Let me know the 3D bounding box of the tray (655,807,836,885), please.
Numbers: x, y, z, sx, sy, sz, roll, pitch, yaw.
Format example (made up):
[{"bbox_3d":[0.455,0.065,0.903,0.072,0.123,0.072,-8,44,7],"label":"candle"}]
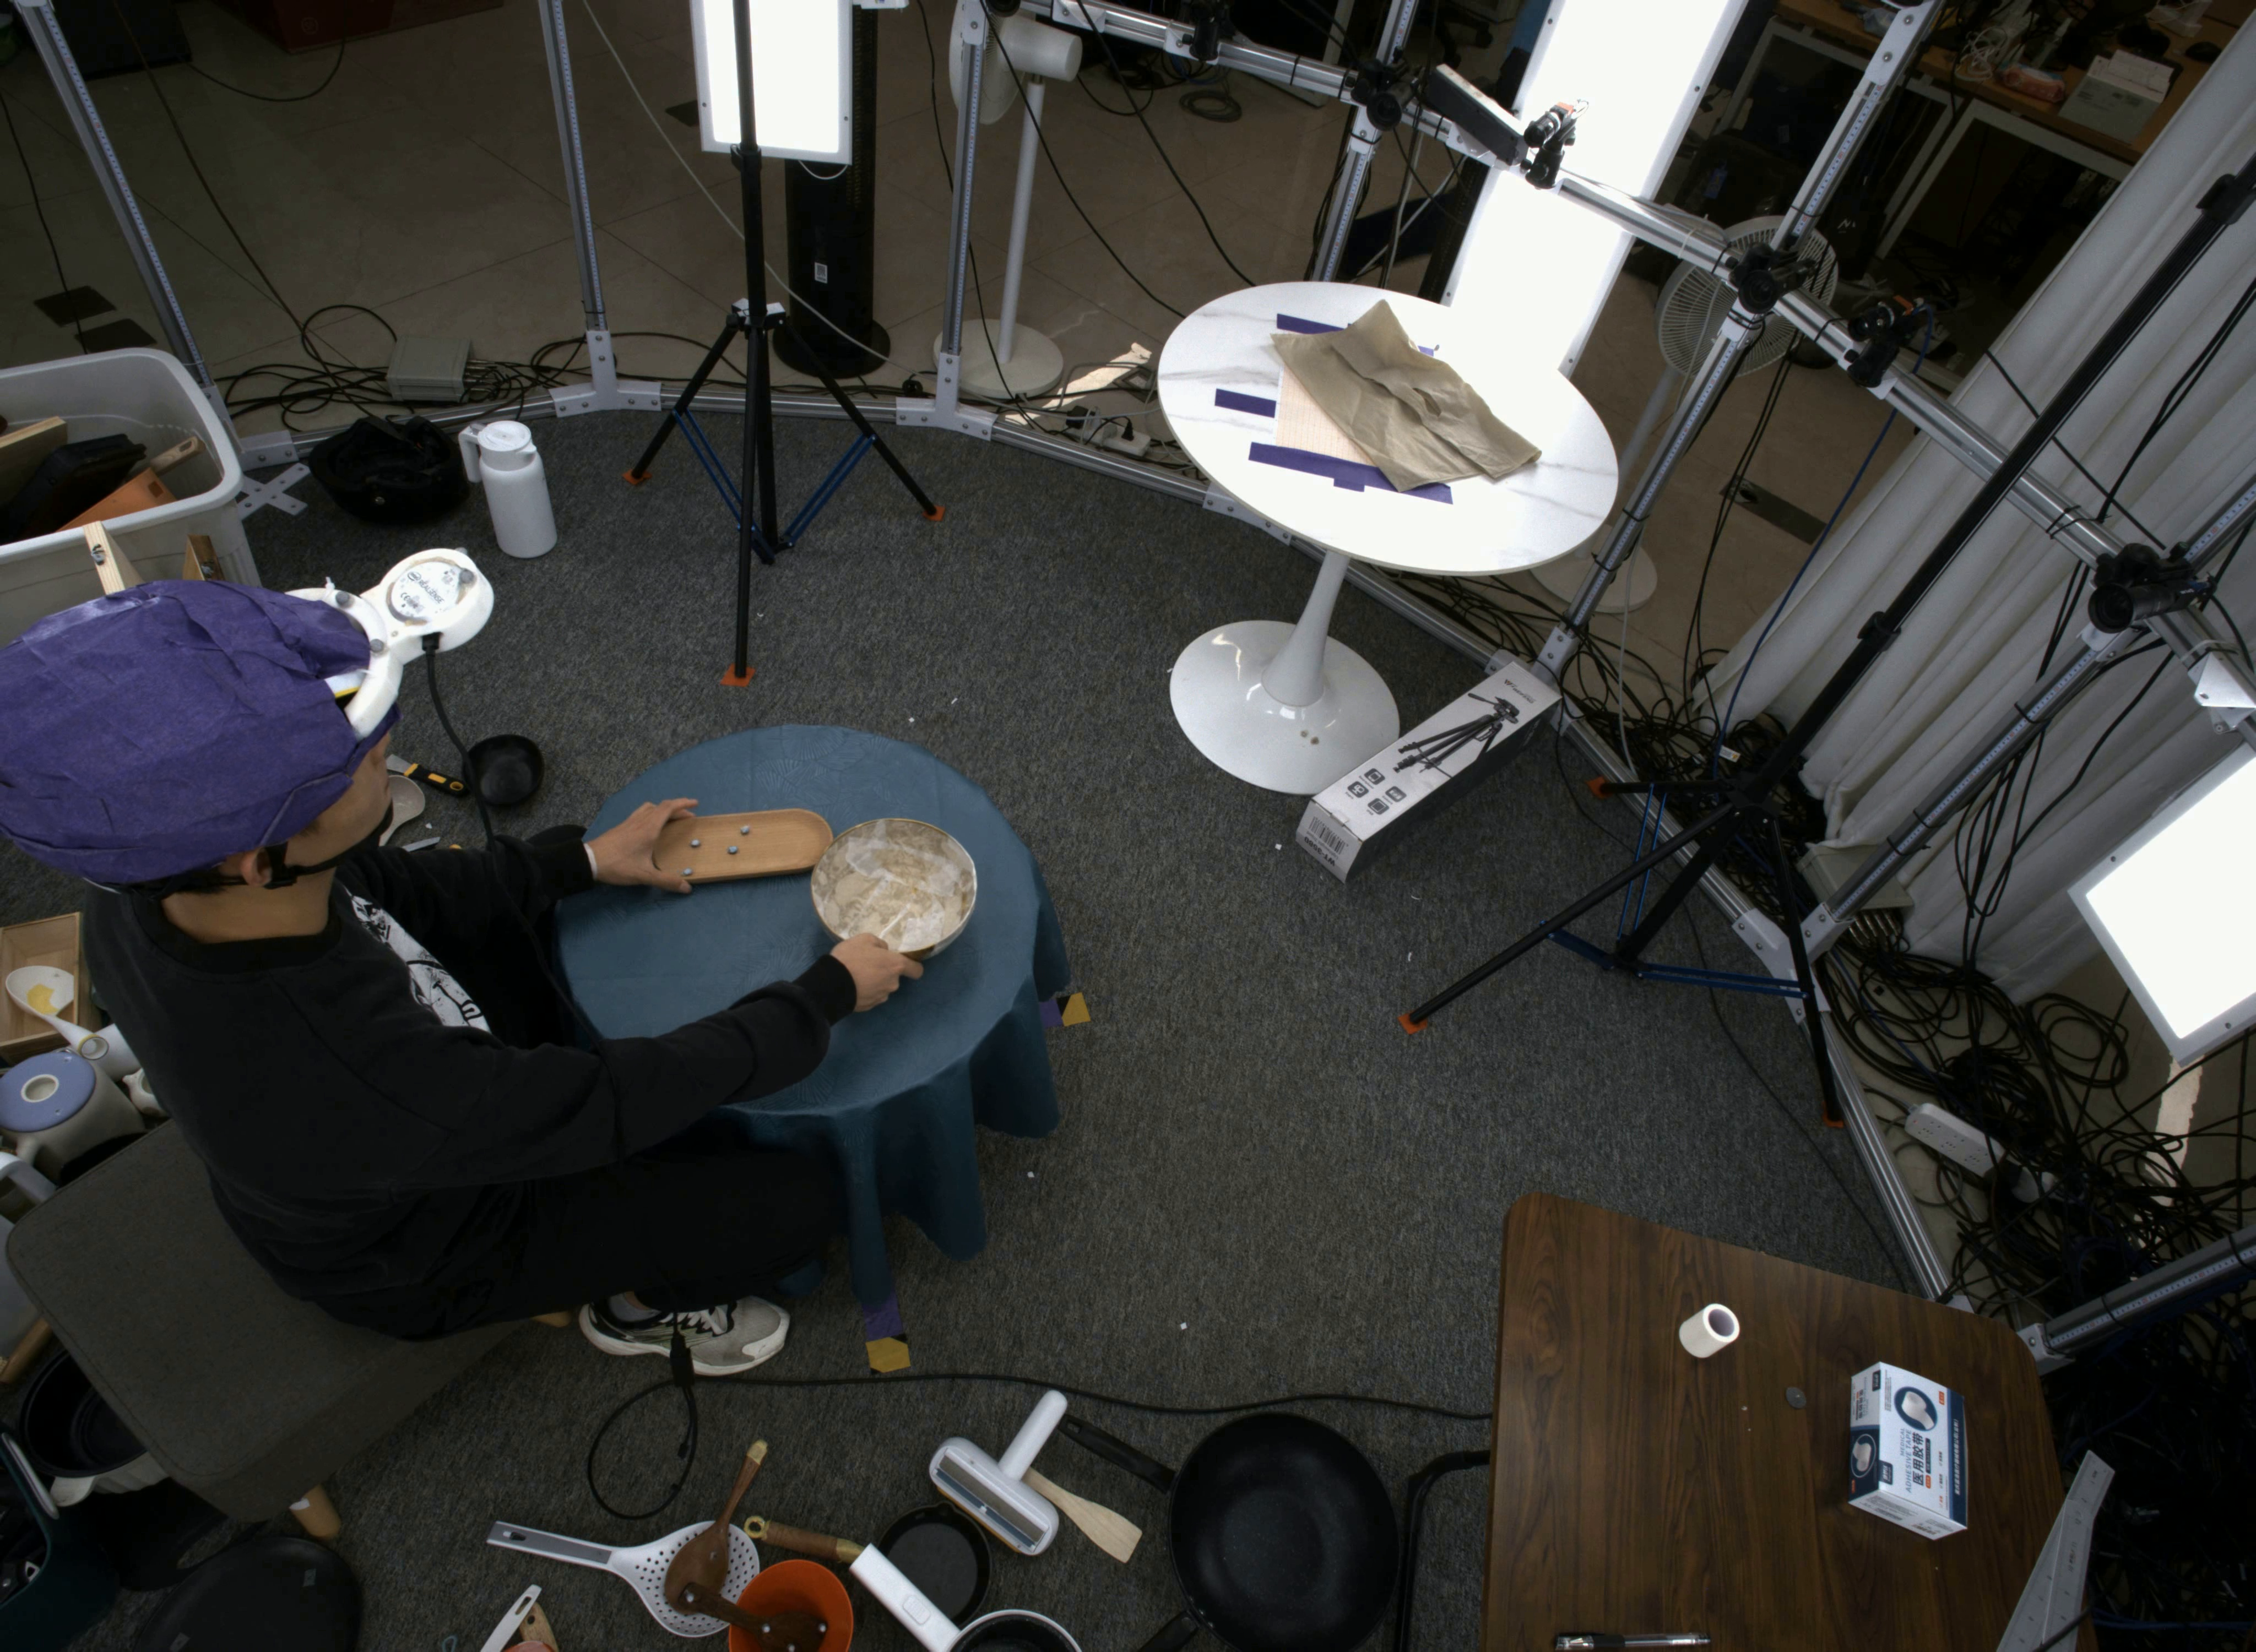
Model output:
[{"bbox_3d":[-0.496,0.024,1.680,0.232,0.020,0.099,-5,57,-22],"label":"tray"}]

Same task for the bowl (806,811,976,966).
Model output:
[{"bbox_3d":[-0.296,0.092,1.630,0.214,0.096,0.211,6,55,-7],"label":"bowl"}]
